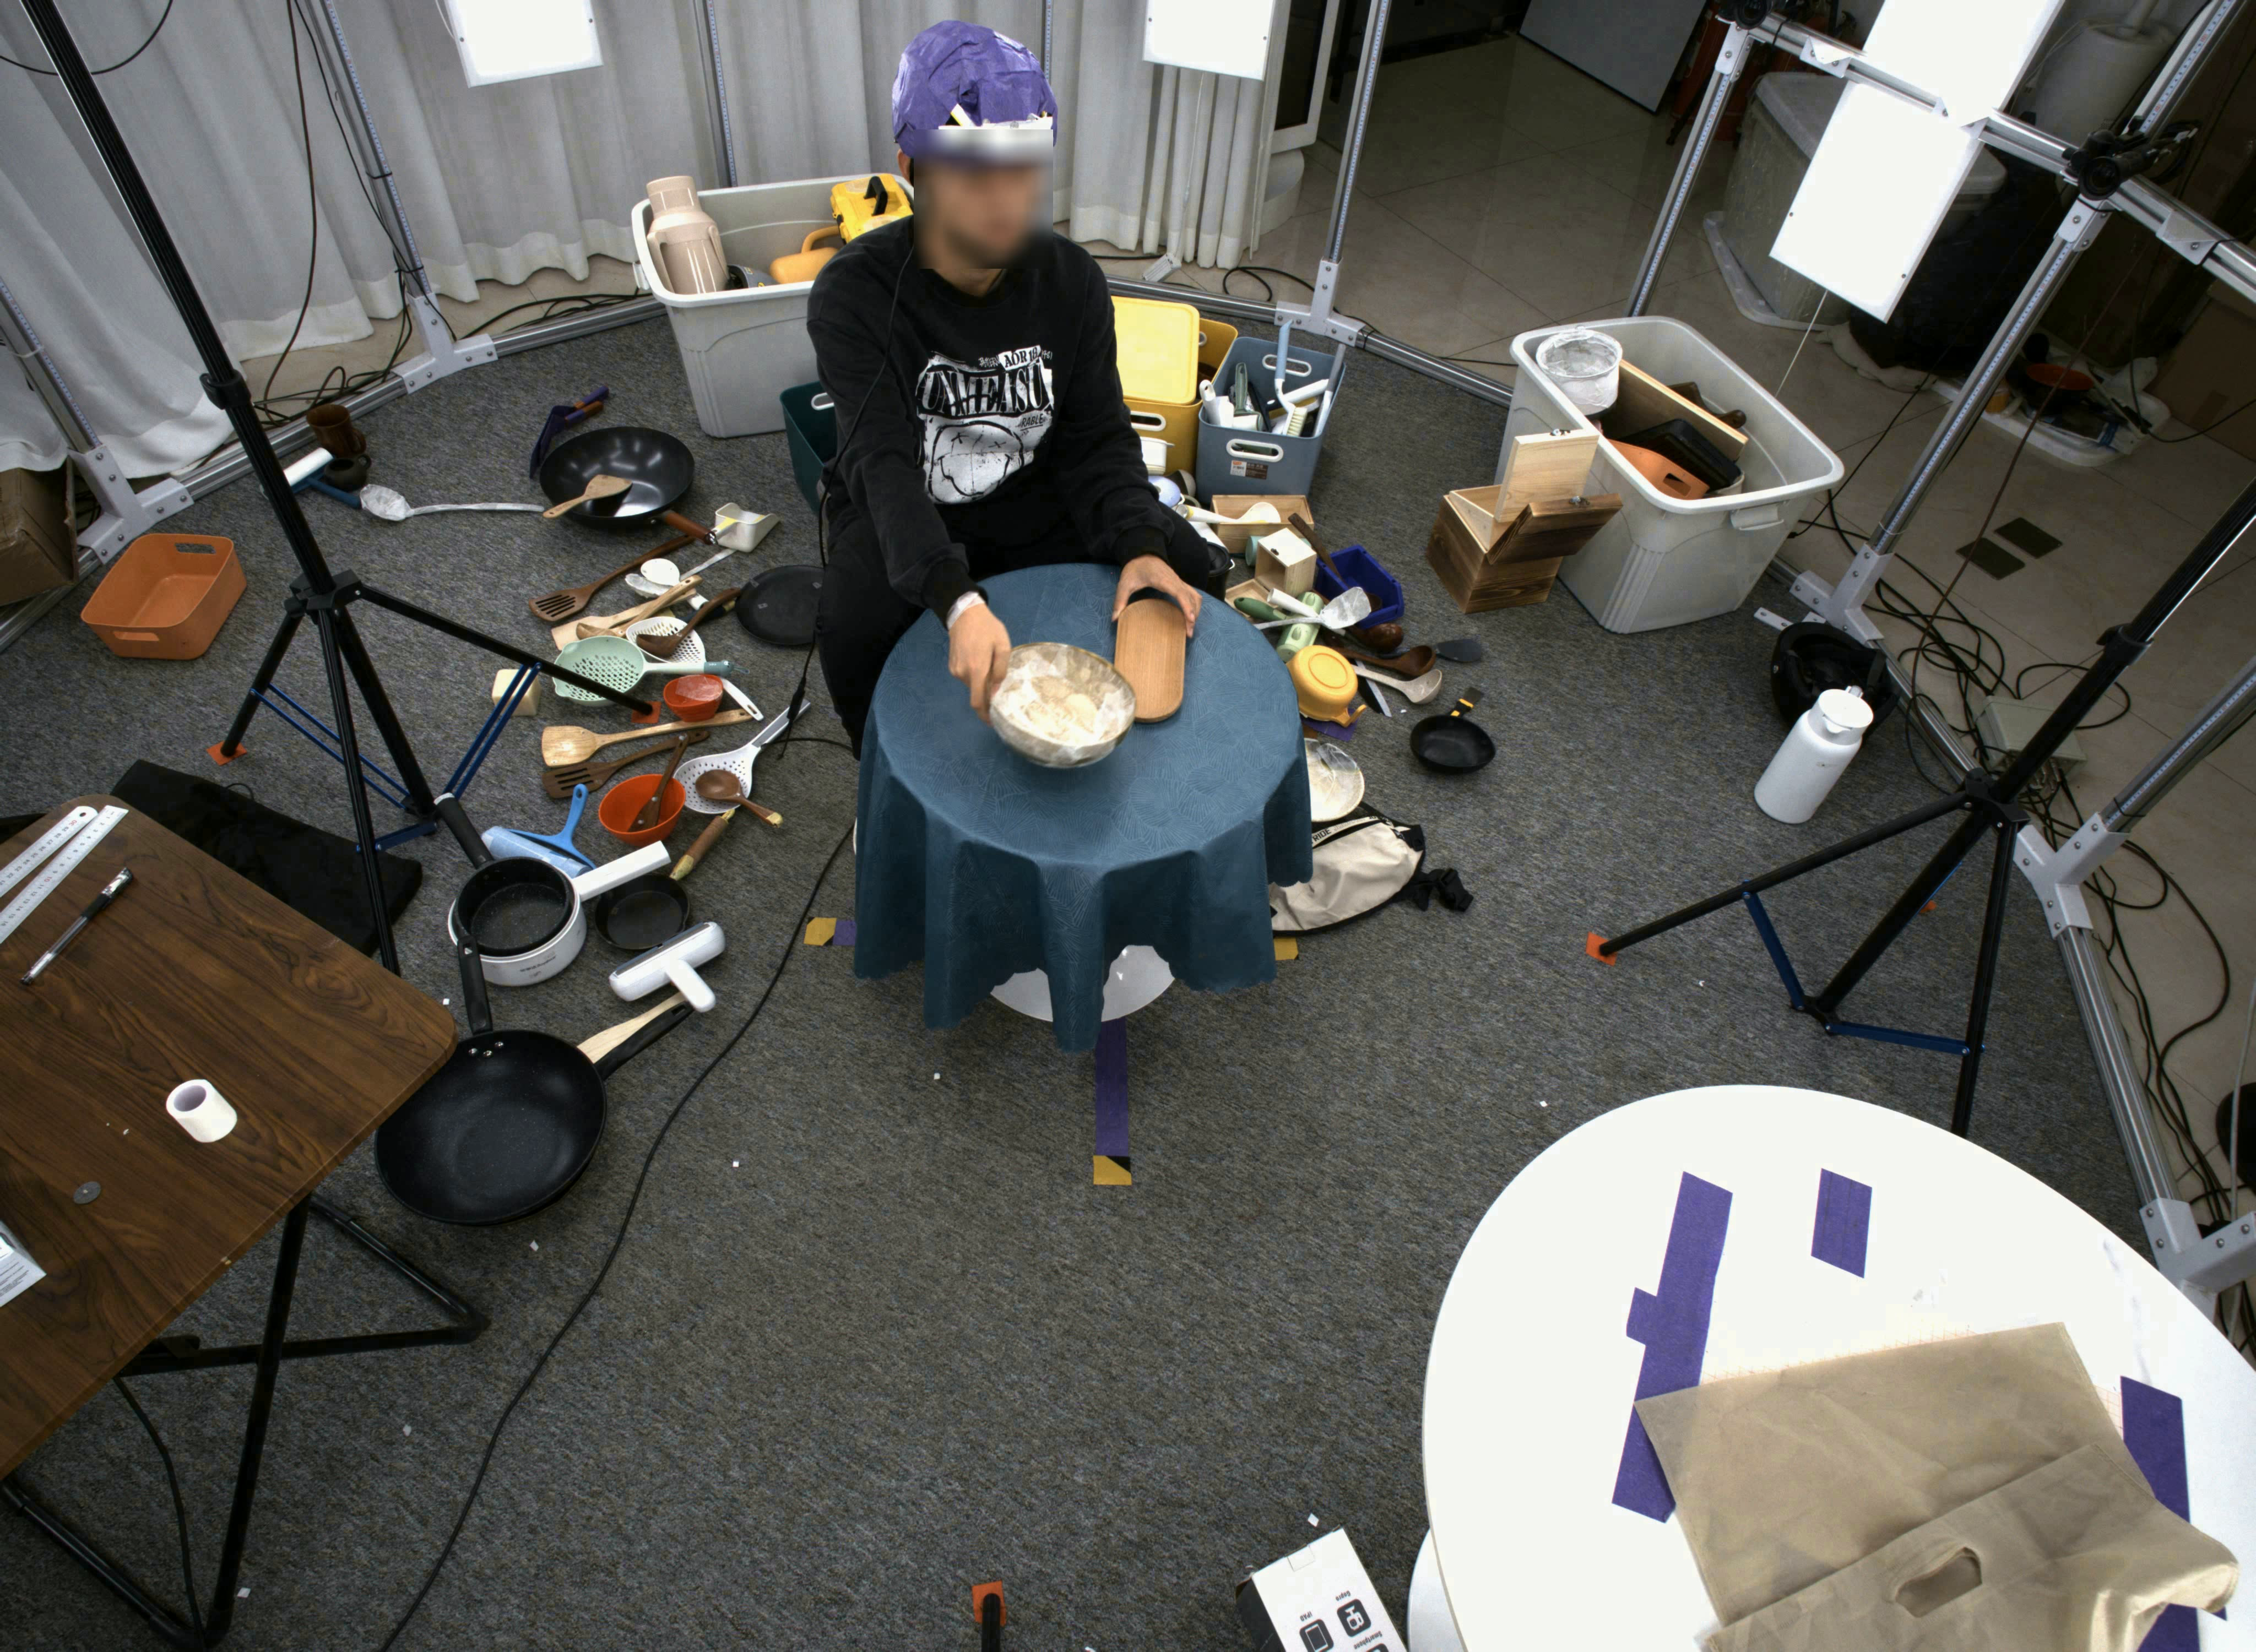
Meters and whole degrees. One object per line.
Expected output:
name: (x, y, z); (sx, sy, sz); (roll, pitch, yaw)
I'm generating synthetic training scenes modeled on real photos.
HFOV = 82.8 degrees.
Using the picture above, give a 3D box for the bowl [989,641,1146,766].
bowl: (-0.088, -0.149, 1.710); (0.214, 0.092, 0.220); (9, 43, -9)

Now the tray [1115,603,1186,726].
tray: (0.033, -0.238, 1.871); (0.102, 0.020, 0.236); (0, 55, 4)
